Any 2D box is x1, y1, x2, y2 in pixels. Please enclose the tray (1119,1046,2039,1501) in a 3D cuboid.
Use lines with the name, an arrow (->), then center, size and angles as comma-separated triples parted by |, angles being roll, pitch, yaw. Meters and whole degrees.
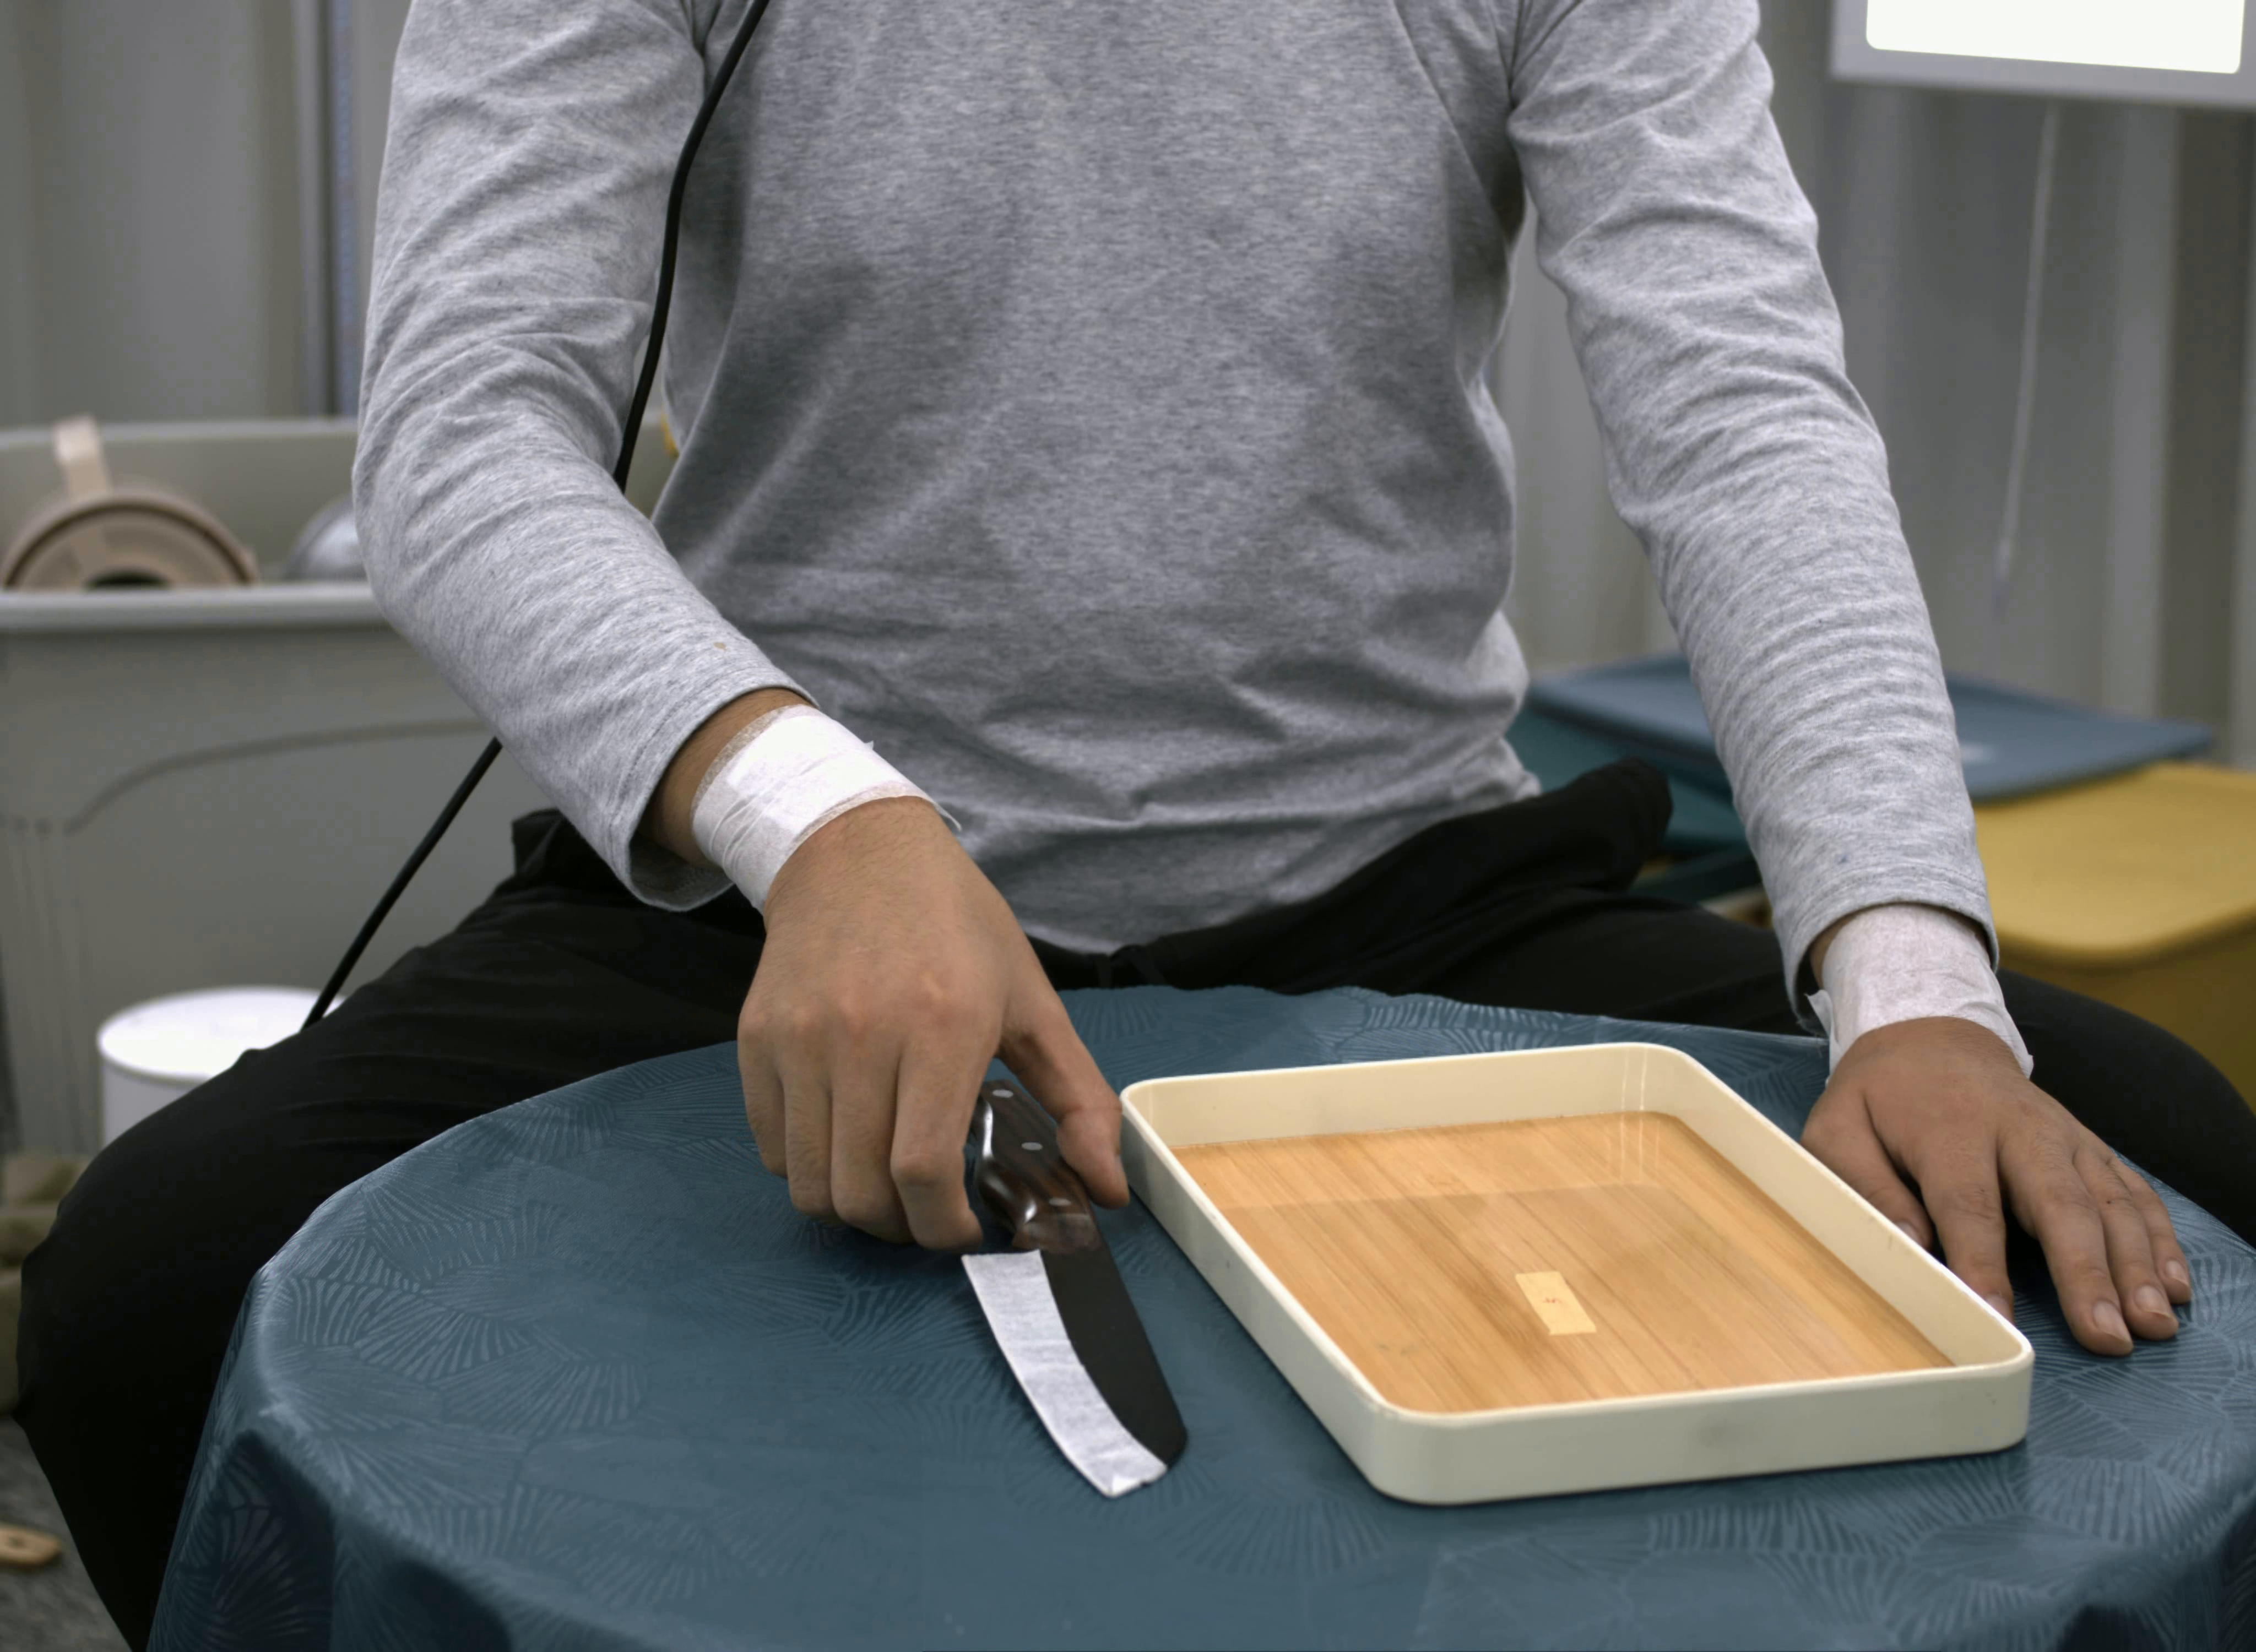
tray -> 0.122, 0.125, 1.536 | 0.192, 0.027, 0.297 | -3, 16, -15

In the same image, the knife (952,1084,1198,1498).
knife -> -0.021, 0.133, 1.521 | 0.050, 0.020, 0.286 | -2, 18, -8
